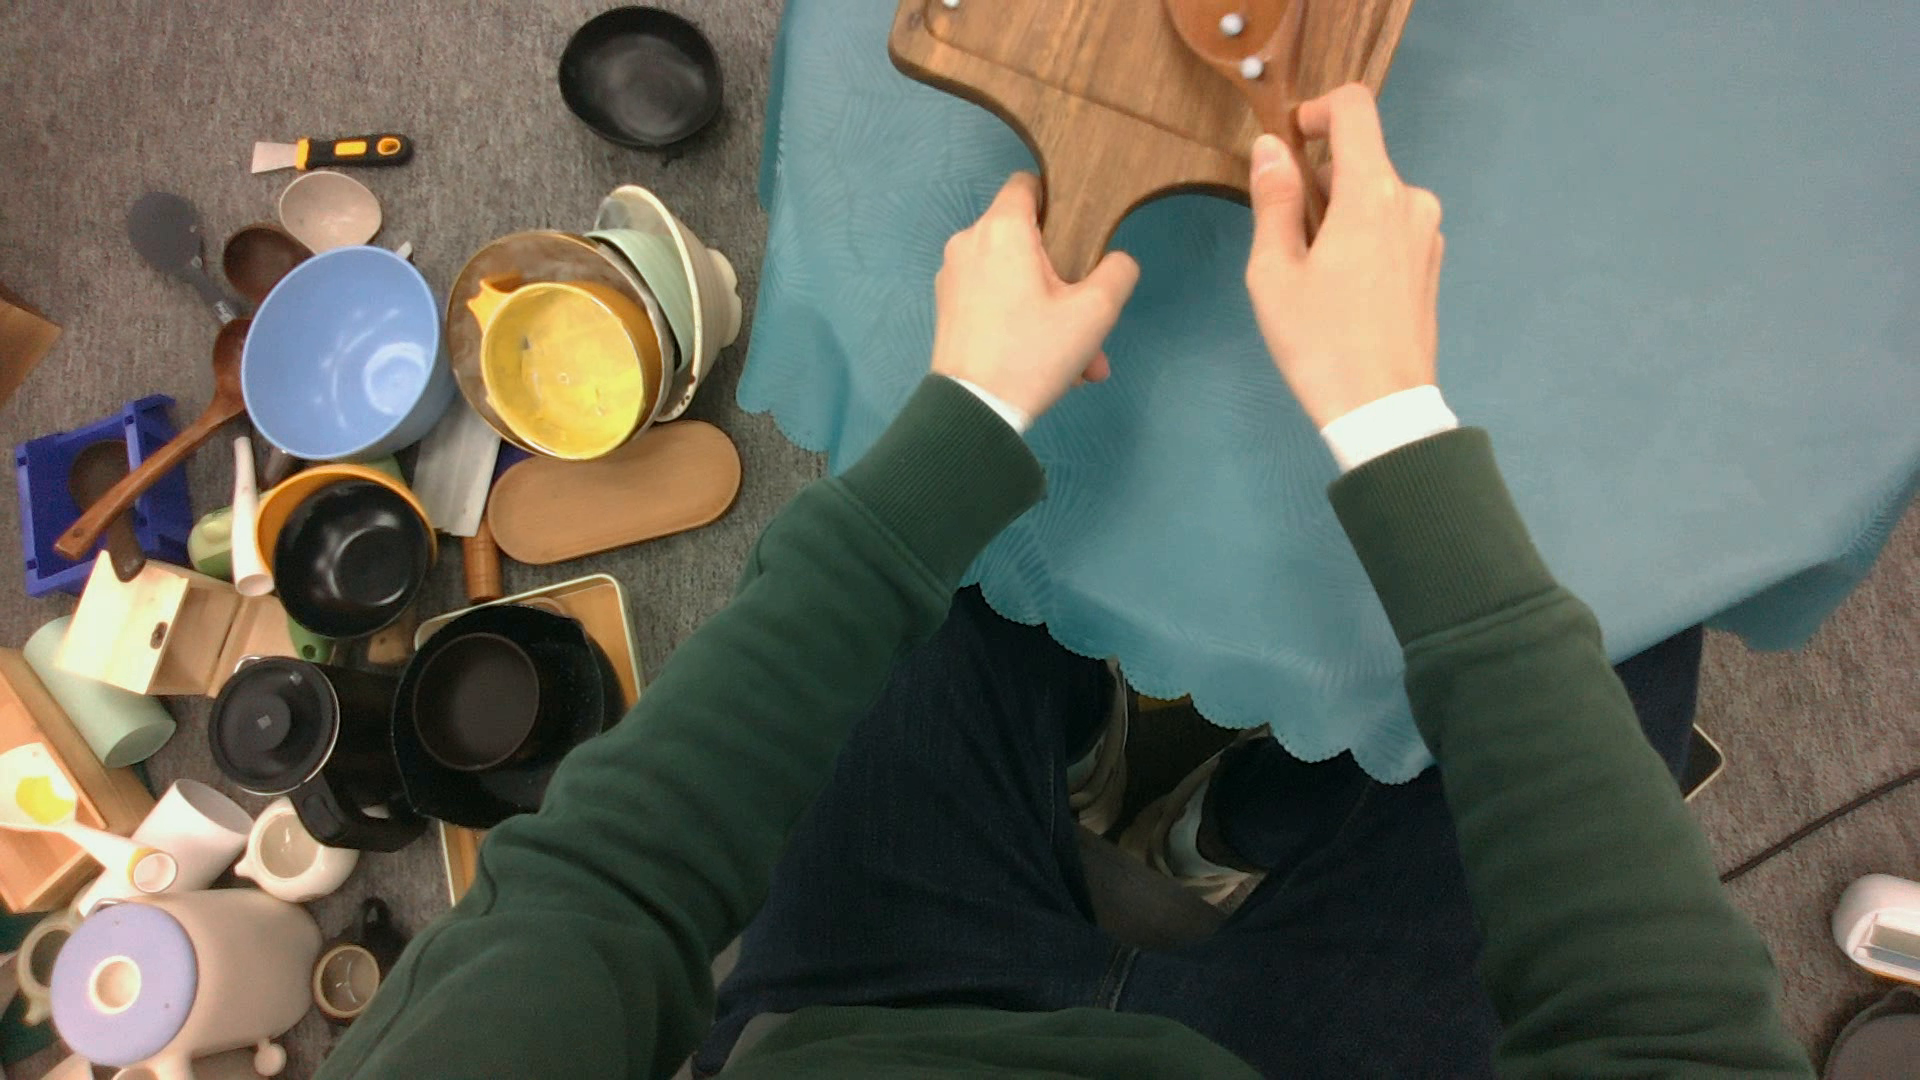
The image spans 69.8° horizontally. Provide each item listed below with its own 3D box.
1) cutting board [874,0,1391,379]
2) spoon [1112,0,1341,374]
[{"bbox_3d":[0.079,-0.236,0.573,0.201,0.023,0.352,19,90,-4],"label":"cutting board"},{"bbox_3d":[0.108,-0.167,0.531,0.075,0.017,0.216,-20,79,38],"label":"spoon"}]
